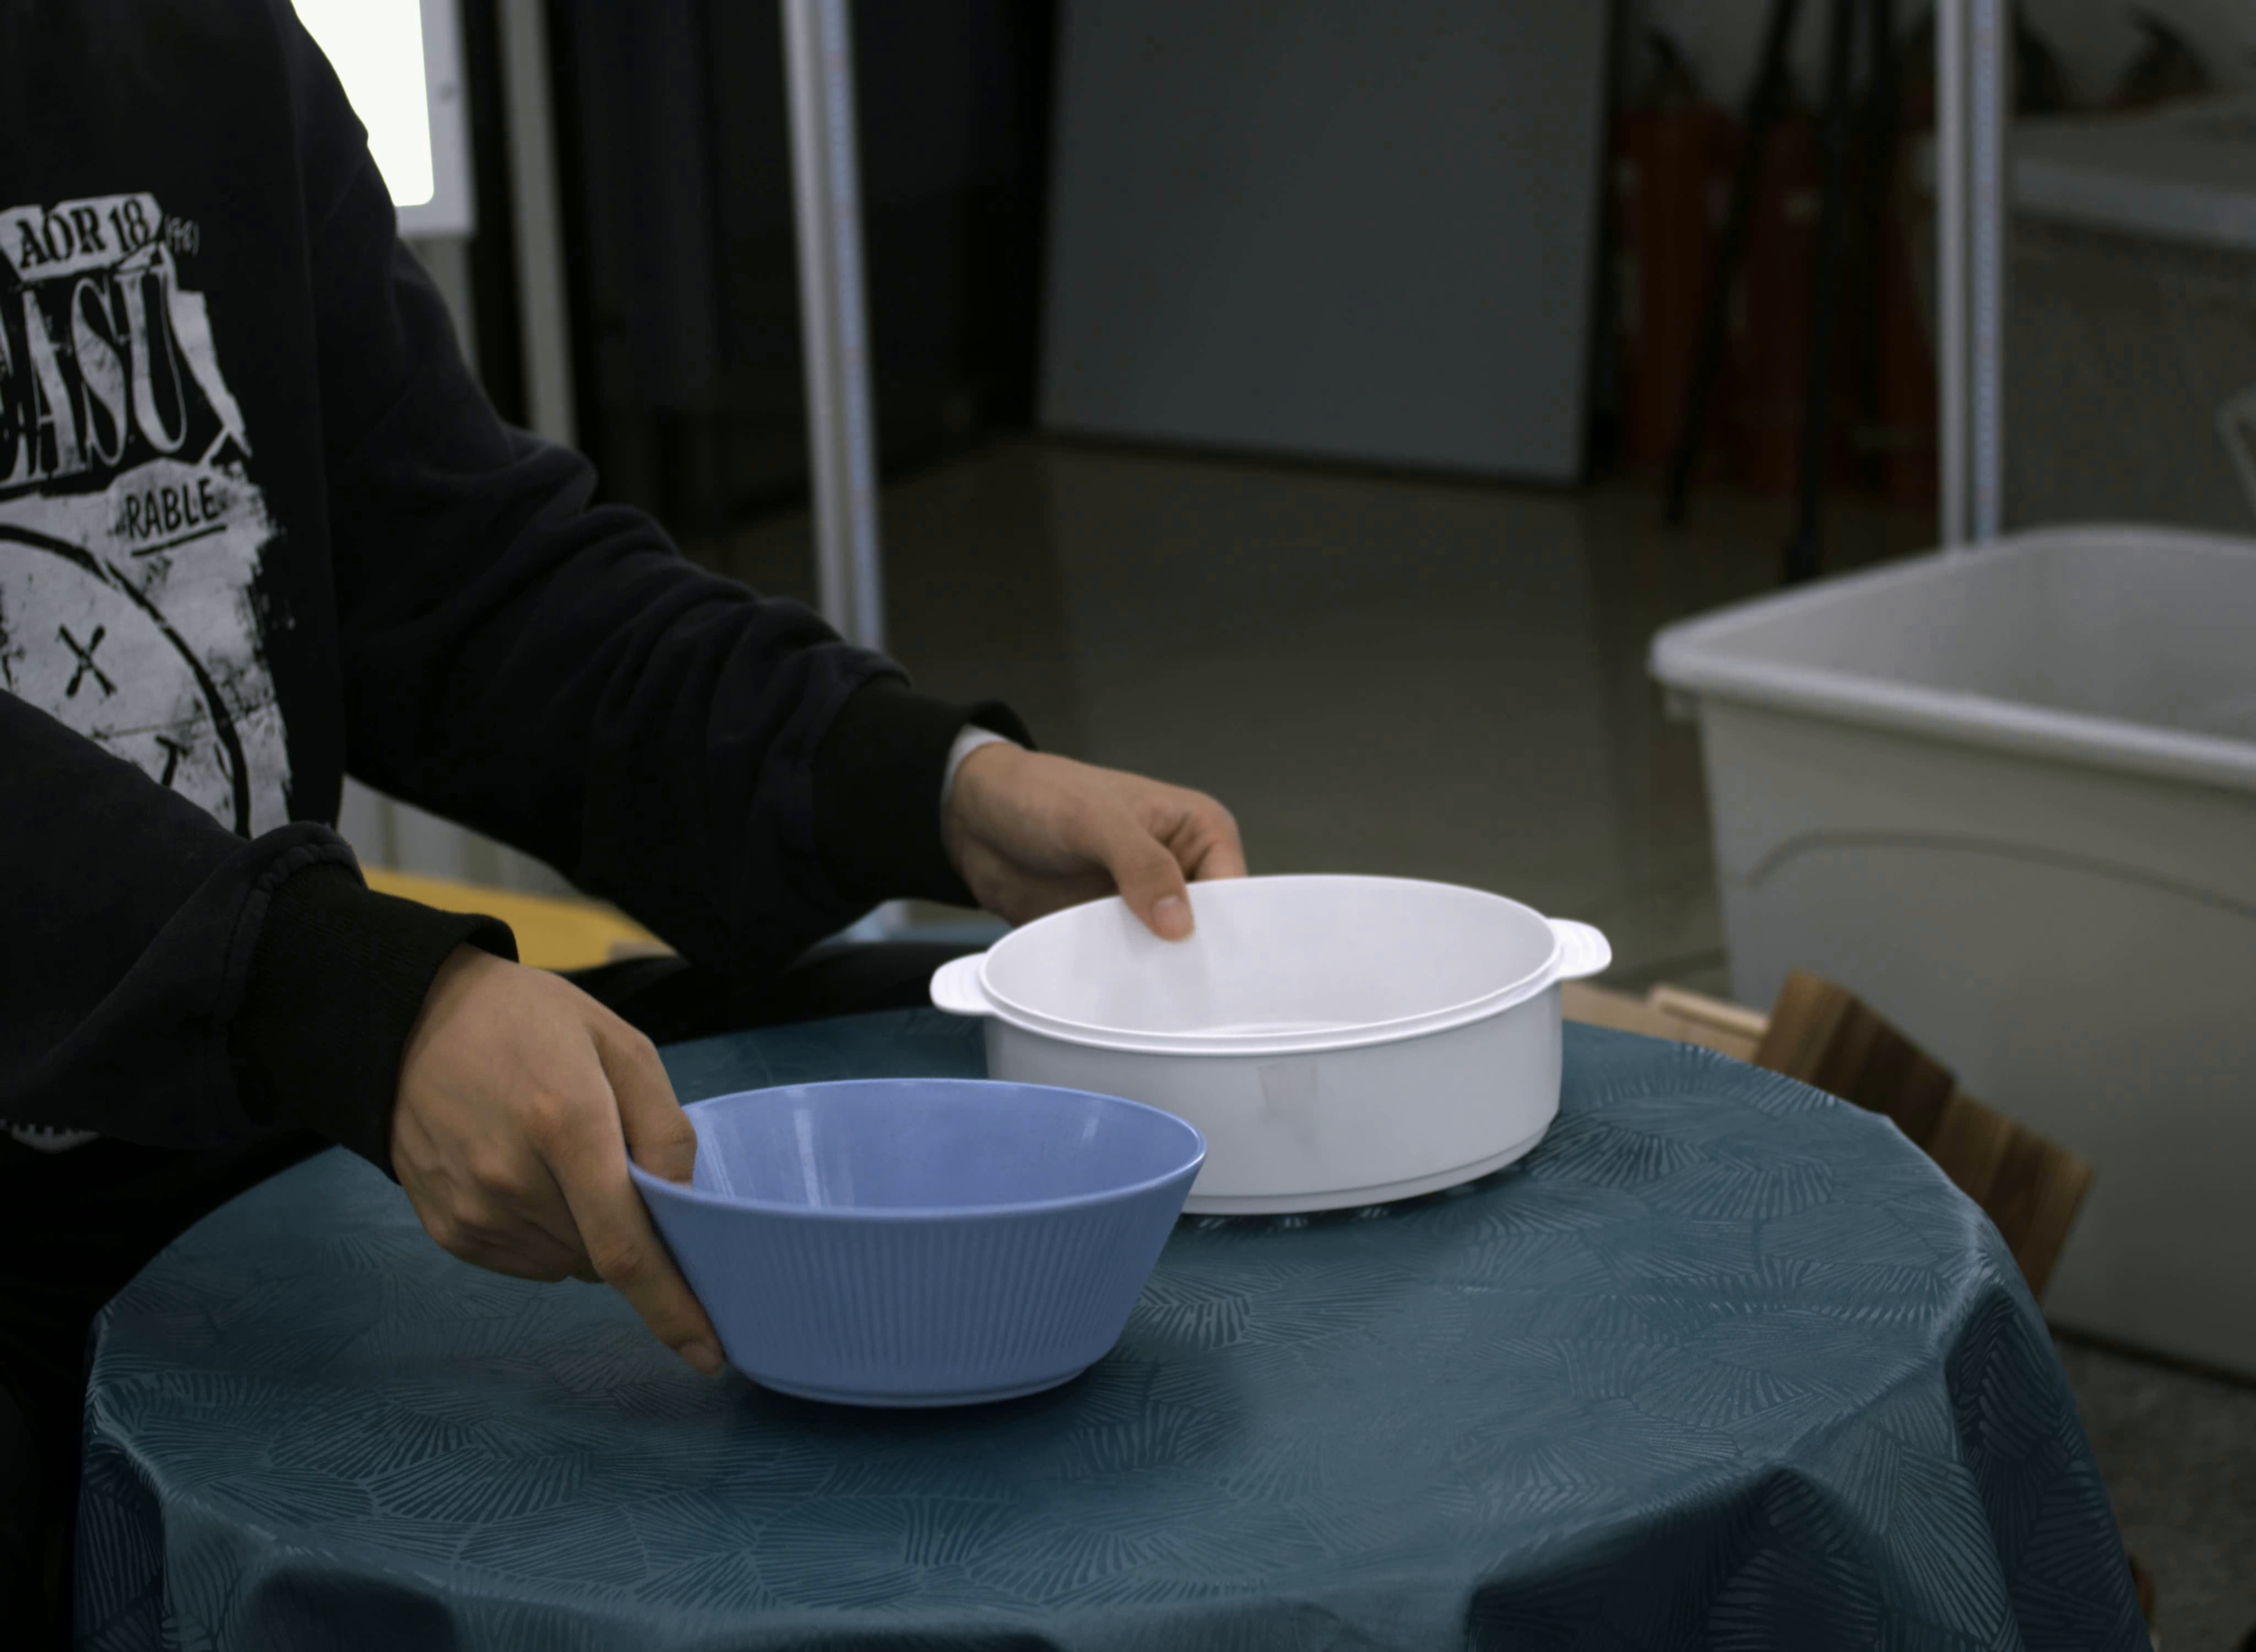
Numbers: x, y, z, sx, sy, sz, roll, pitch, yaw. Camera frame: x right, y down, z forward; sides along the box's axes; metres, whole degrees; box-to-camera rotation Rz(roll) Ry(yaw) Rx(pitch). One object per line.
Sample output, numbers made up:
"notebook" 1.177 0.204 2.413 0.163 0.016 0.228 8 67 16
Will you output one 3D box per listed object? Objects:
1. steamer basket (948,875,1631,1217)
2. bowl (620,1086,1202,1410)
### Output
"steamer basket" 0.054 0.073 1.805 0.227 0.070 0.202 -2 14 0
"bowl" -0.064 0.126 1.602 0.174 0.071 0.176 0 9 -1
